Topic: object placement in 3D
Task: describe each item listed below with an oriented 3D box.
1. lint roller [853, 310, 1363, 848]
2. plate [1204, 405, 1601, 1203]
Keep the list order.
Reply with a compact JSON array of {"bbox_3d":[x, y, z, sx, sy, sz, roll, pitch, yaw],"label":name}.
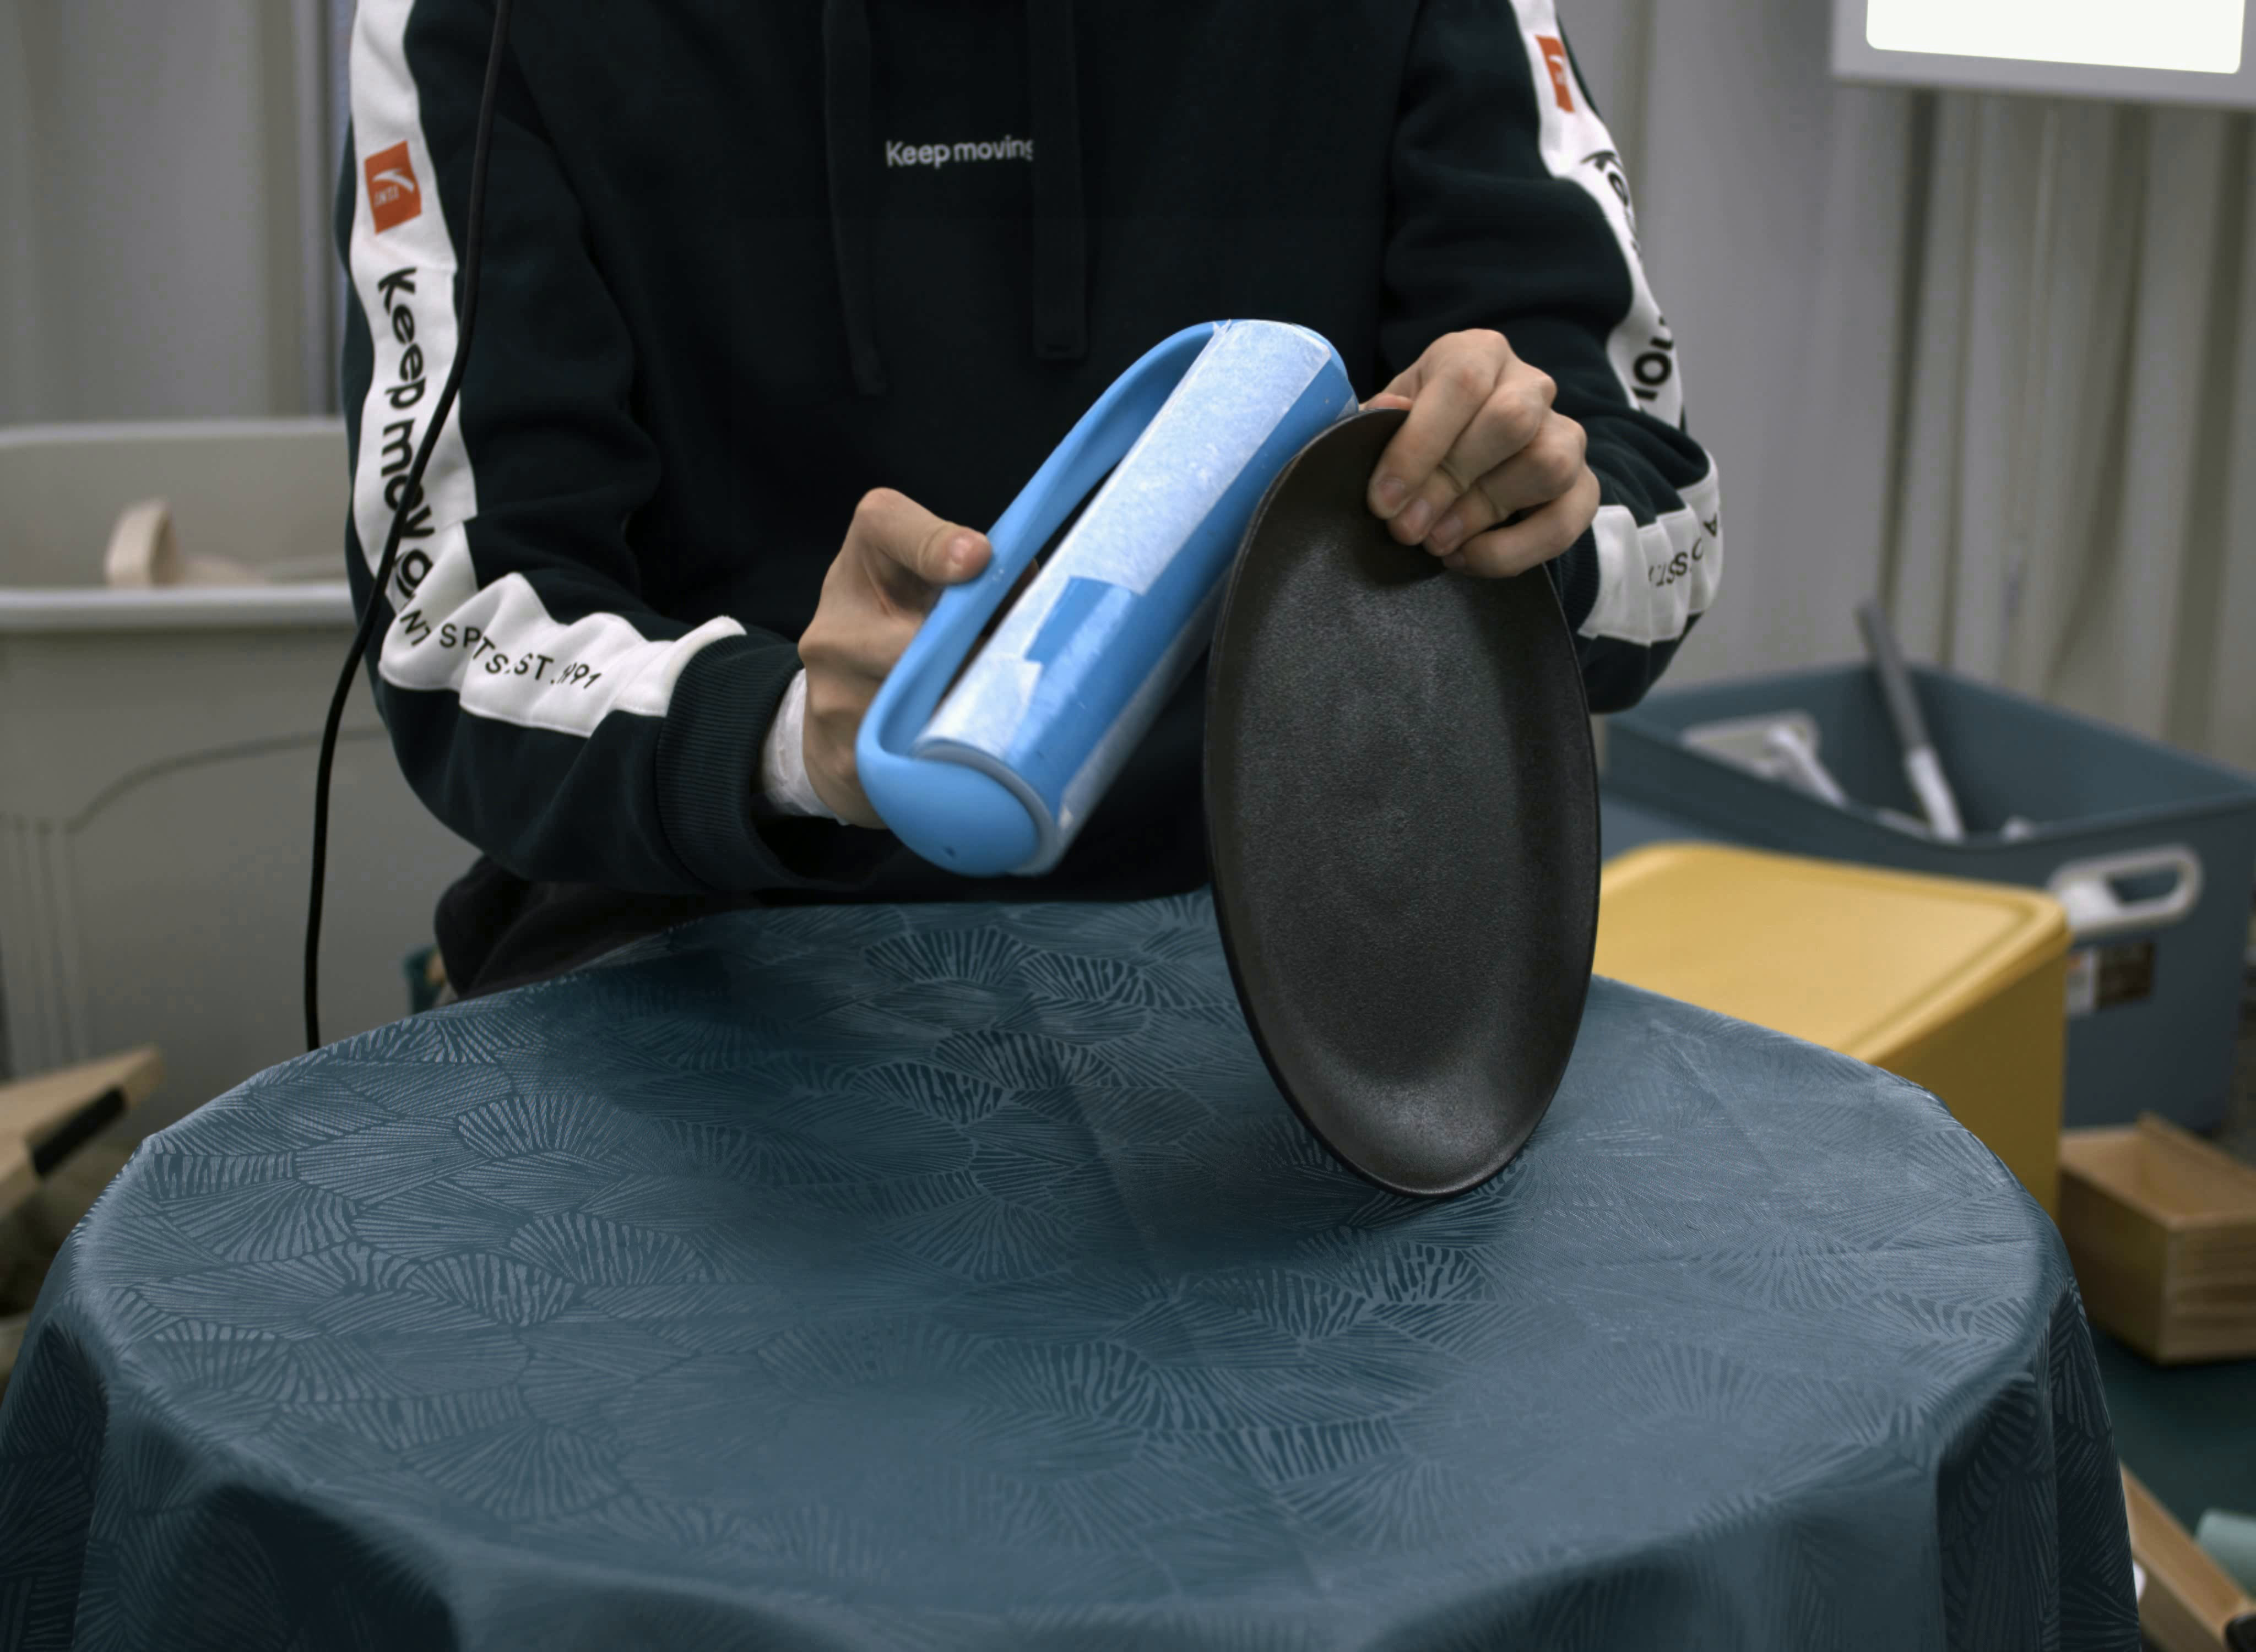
[{"bbox_3d":[-0.030,-0.056,1.608,0.179,0.068,0.228,-32,18,50],"label":"lint roller"},{"bbox_3d":[0.080,-0.007,1.614,0.023,0.246,0.245,-5,11,32],"label":"plate"}]
